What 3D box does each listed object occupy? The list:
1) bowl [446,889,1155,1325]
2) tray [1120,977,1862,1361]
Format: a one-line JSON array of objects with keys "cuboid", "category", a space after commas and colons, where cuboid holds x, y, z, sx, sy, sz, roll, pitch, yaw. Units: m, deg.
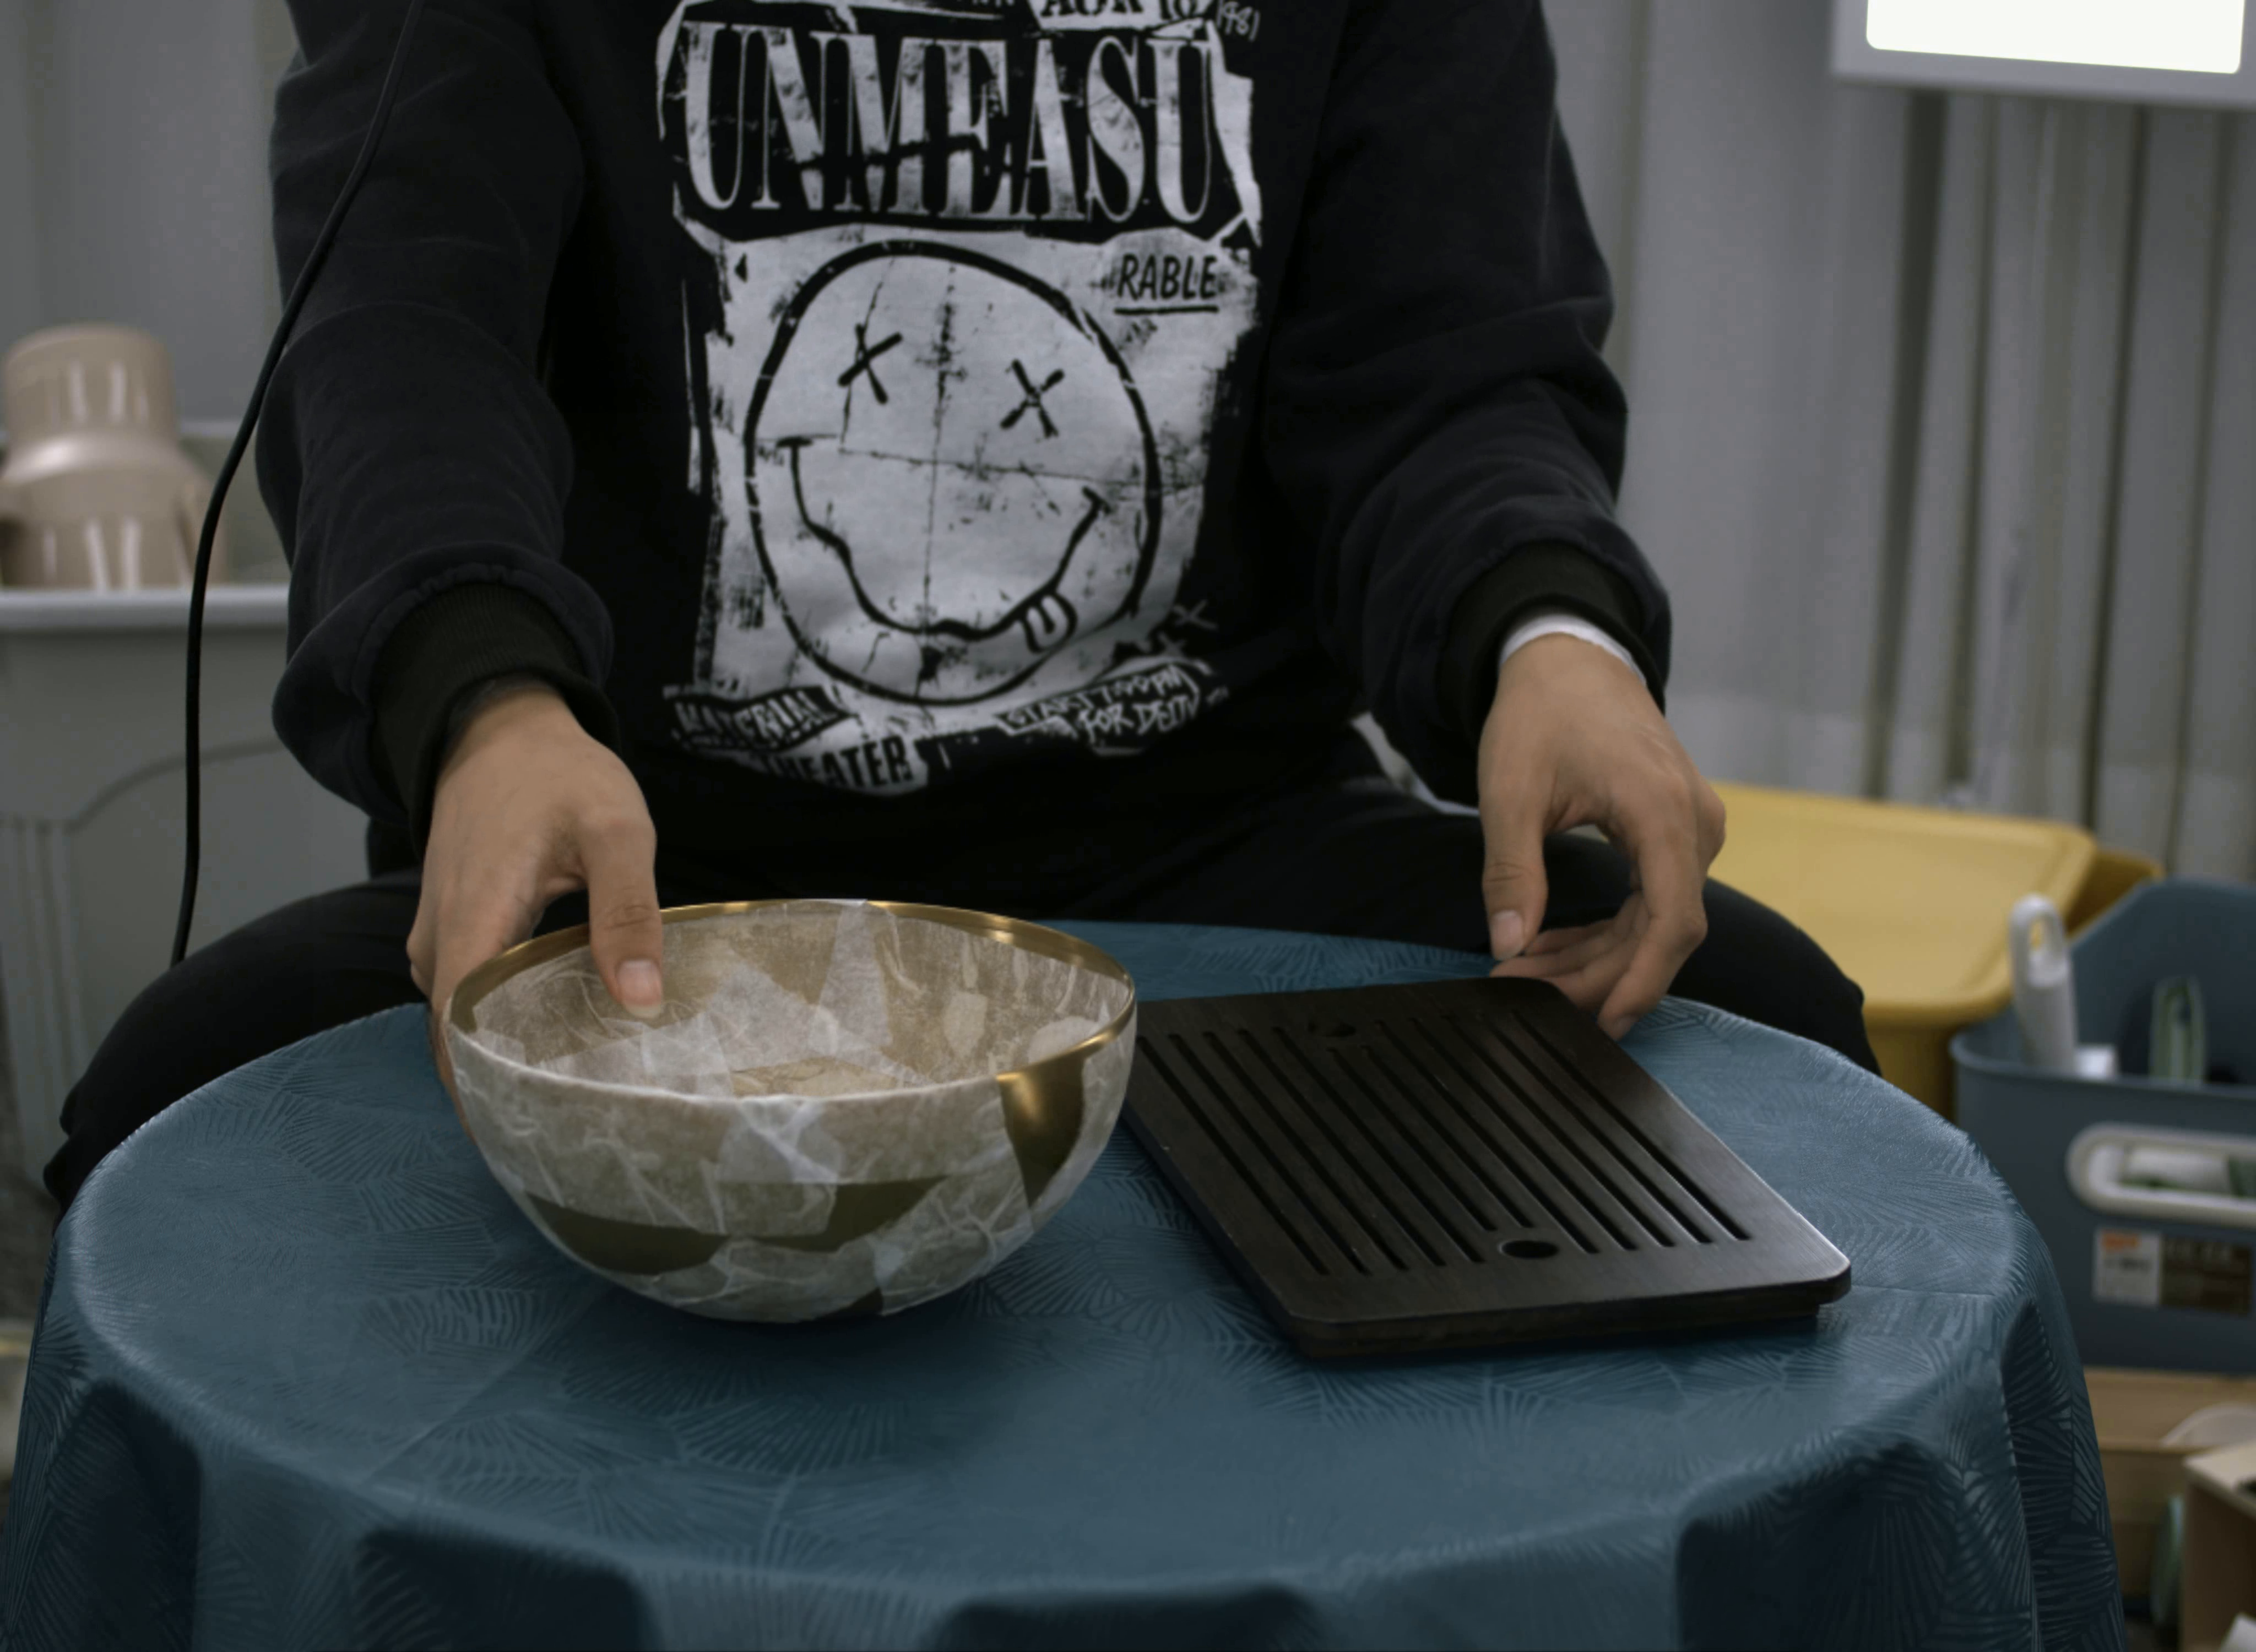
[{"cuboid": [-0.093, 0.090, 1.534, 0.214, 0.095, 0.213, -1, 16, 1], "category": "bowl"}, {"cuboid": [0.097, 0.103, 1.633, 0.170, 0.019, 0.303, -3, 16, -13], "category": "tray"}]
